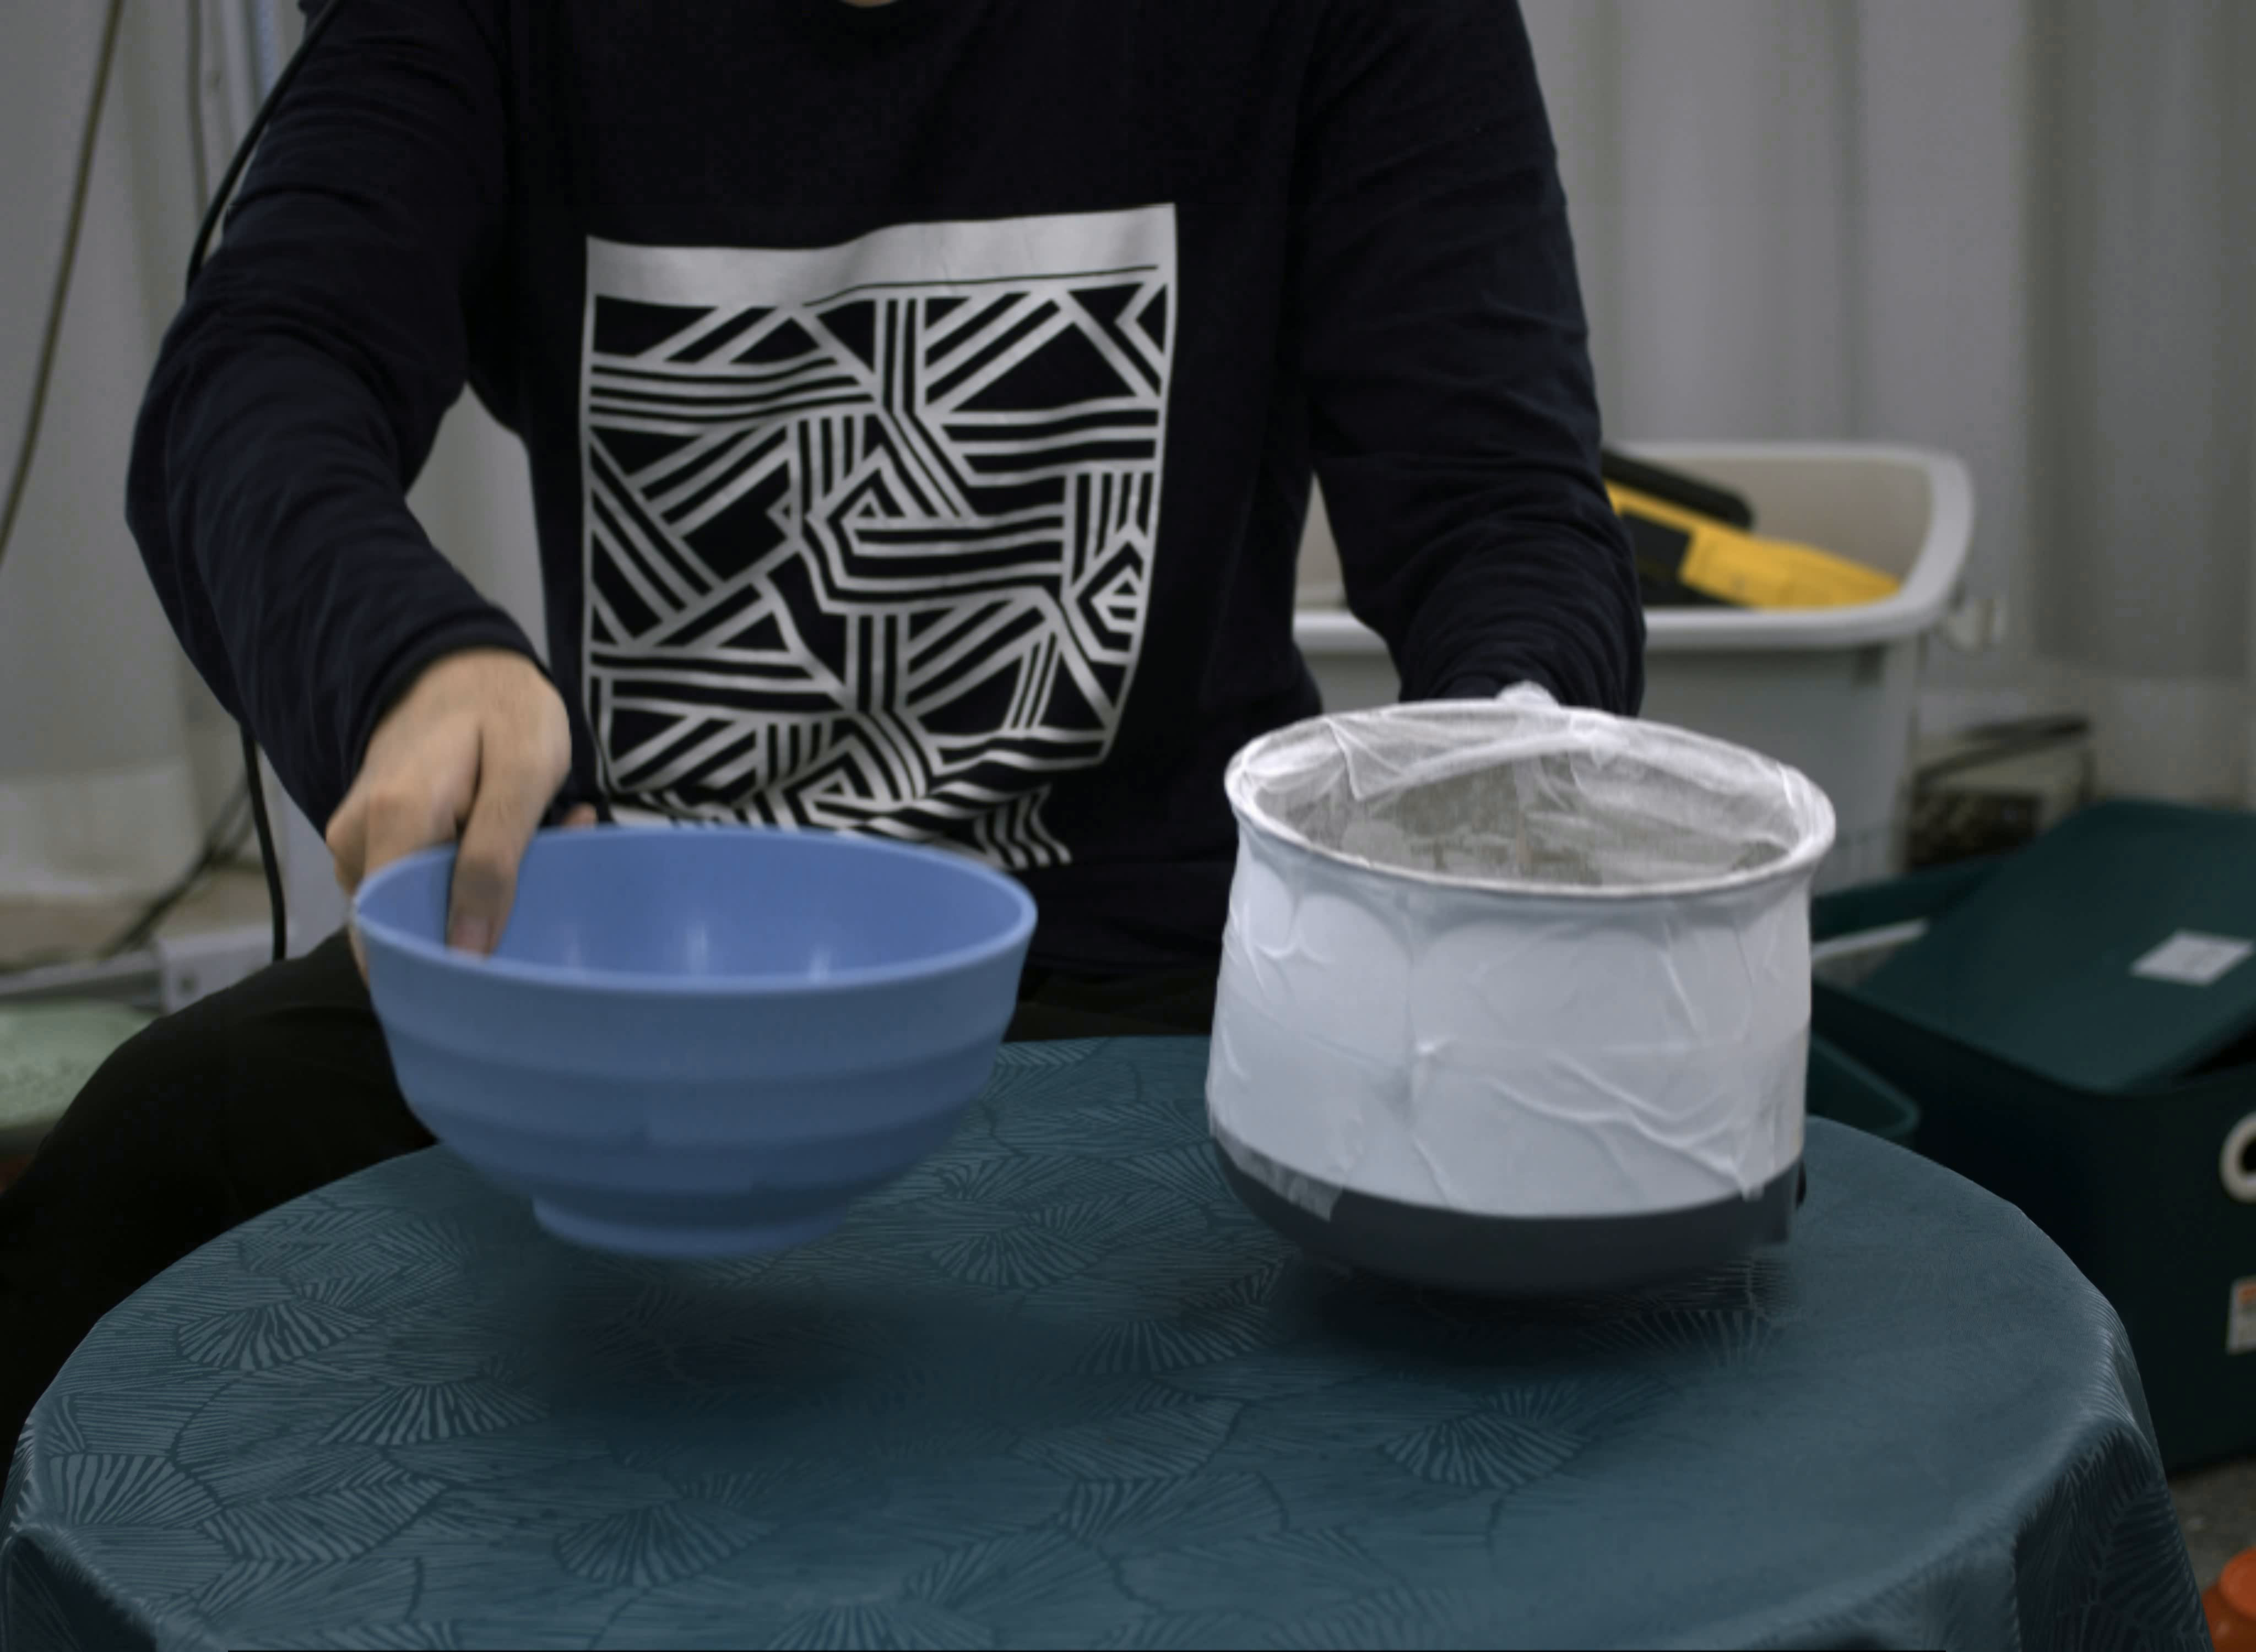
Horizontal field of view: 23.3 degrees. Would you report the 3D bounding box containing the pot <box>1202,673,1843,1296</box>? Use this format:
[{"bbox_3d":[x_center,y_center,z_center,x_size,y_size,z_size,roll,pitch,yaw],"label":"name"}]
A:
[{"bbox_3d":[0.113,0.040,1.619,0.178,0.136,0.235,5,18,1],"label":"pot"}]

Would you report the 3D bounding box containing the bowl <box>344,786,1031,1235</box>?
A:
[{"bbox_3d":[-0.125,0.058,1.576,0.196,0.095,0.198,-1,15,0],"label":"bowl"}]
